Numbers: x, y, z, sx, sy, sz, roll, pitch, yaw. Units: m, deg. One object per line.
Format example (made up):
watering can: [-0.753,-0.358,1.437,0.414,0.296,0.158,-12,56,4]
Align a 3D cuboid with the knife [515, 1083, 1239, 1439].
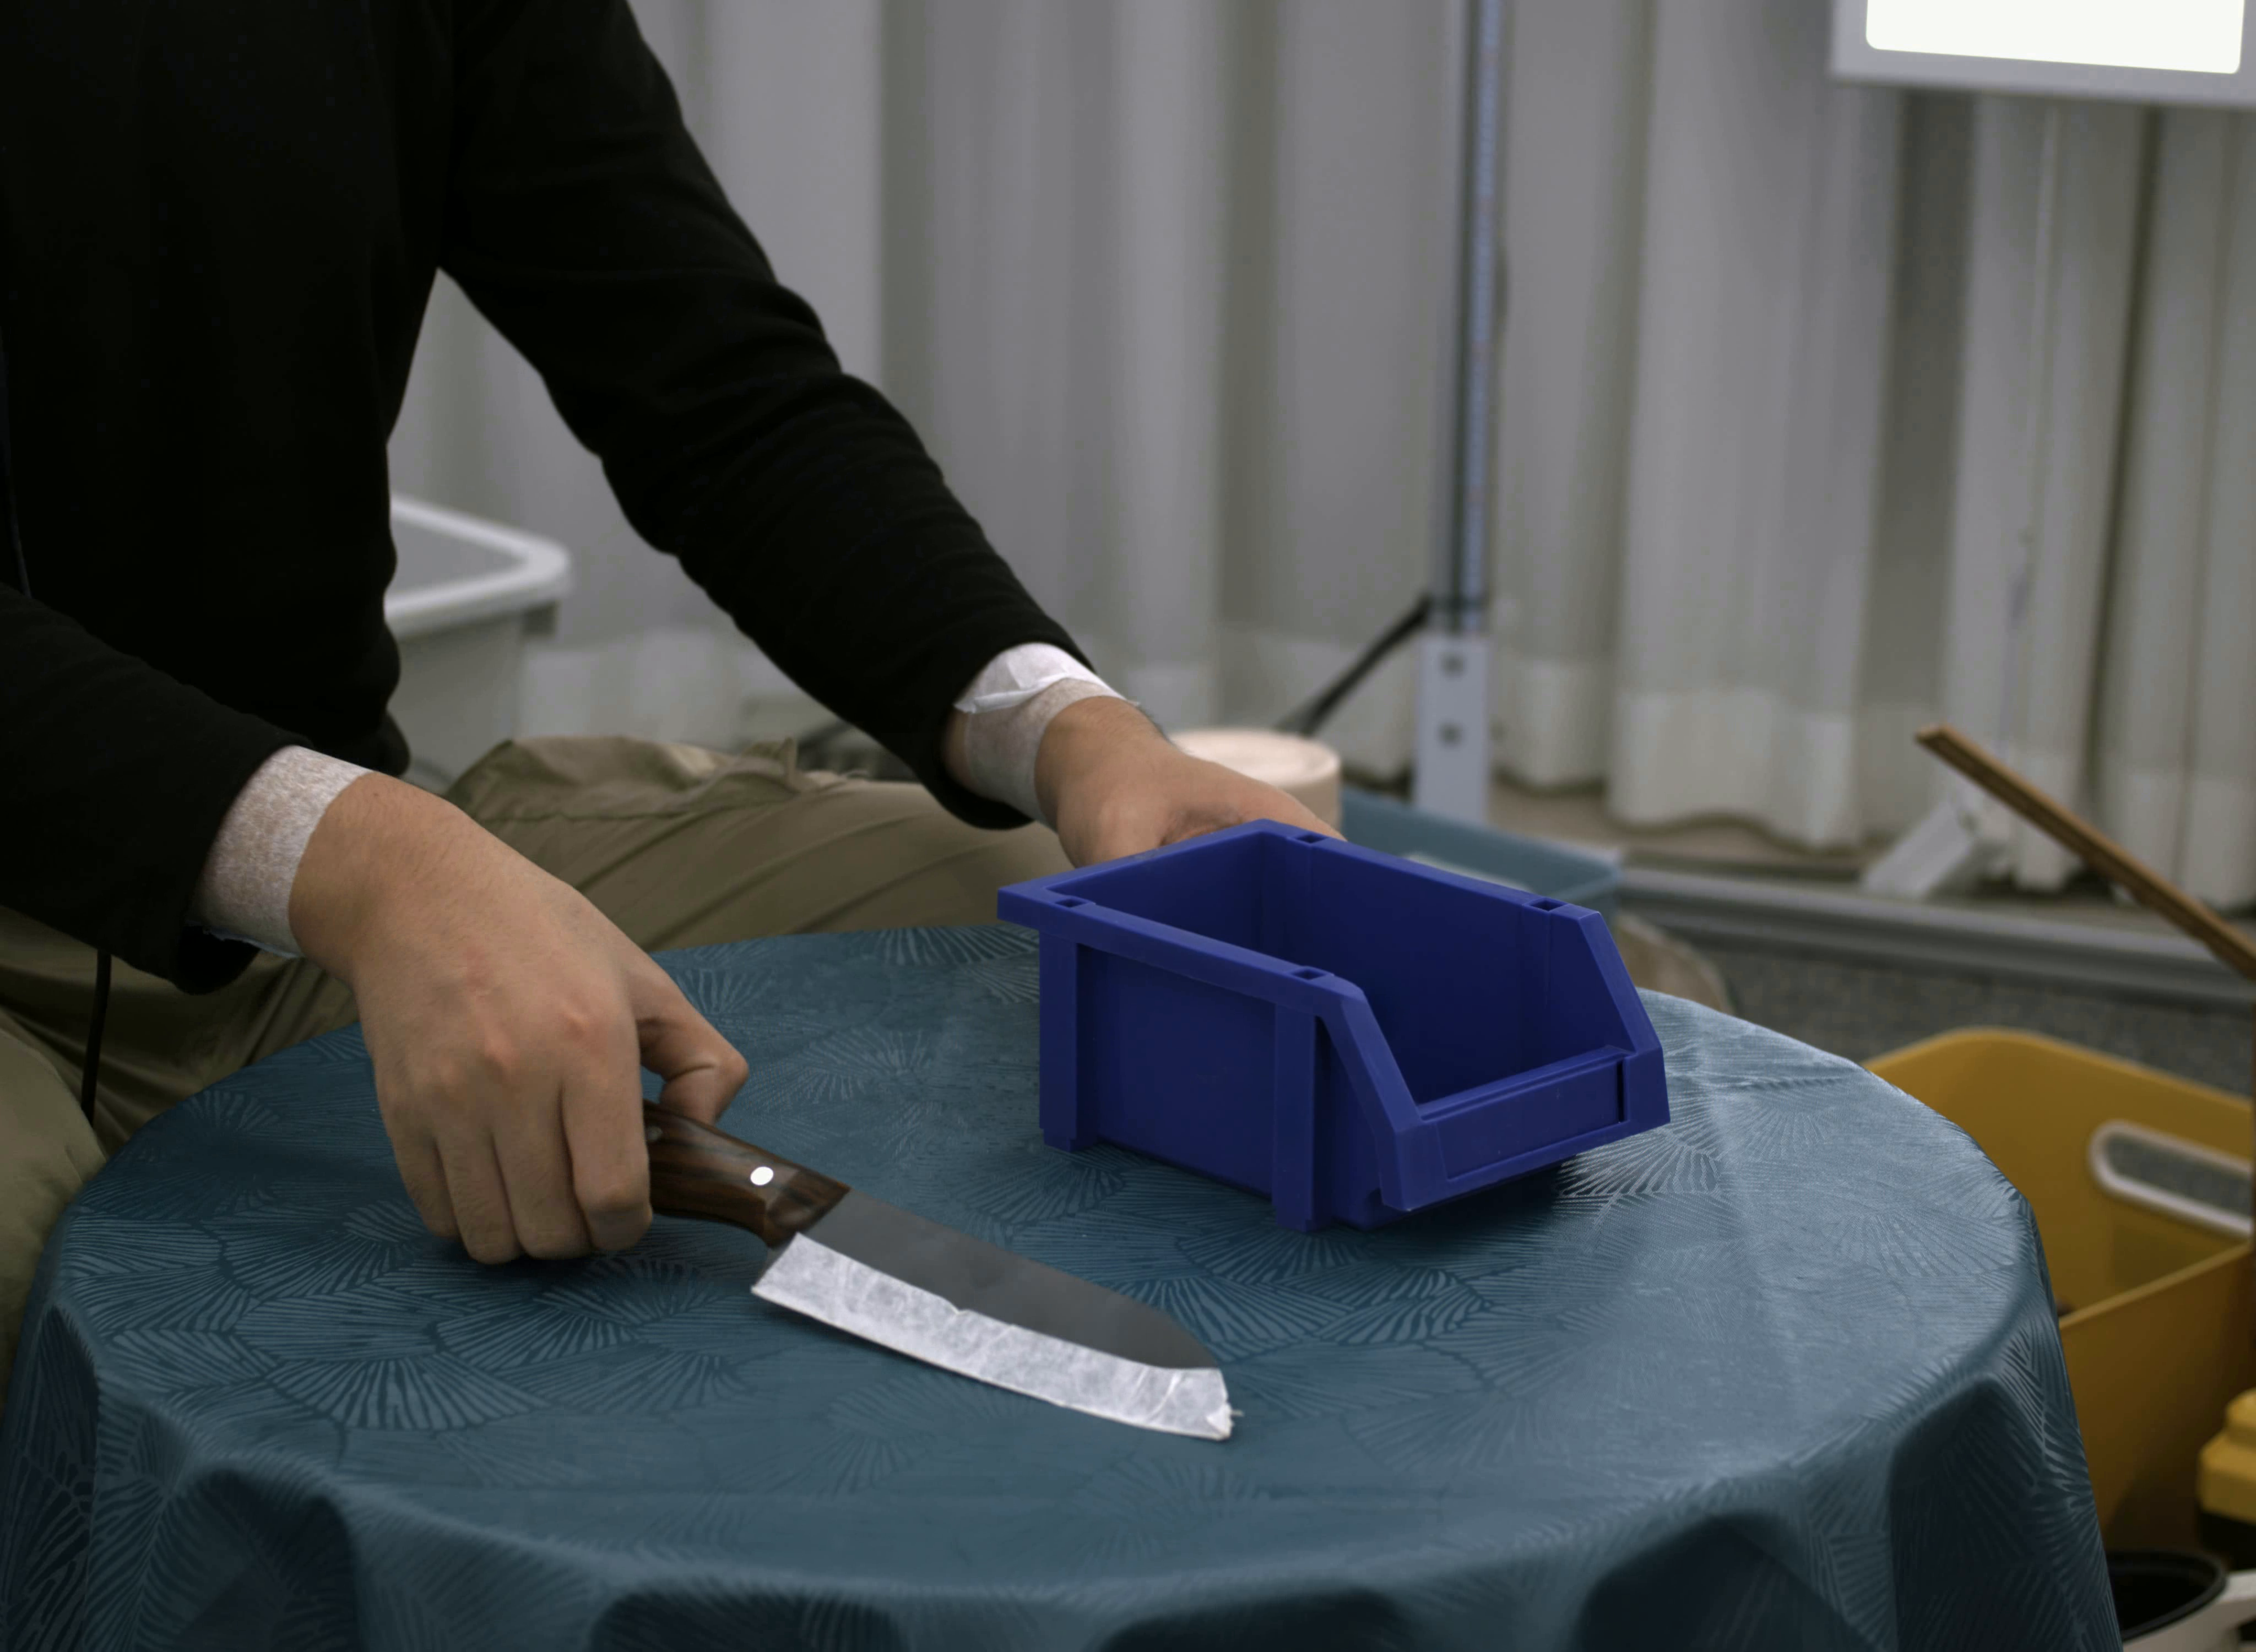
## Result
knife: [-0.076,0.124,1.511,0.285,0.020,0.050,20,58,38]

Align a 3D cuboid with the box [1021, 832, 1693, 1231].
box: [0.072,0.065,1.641,0.125,0.082,0.177,-13,18,-41]
